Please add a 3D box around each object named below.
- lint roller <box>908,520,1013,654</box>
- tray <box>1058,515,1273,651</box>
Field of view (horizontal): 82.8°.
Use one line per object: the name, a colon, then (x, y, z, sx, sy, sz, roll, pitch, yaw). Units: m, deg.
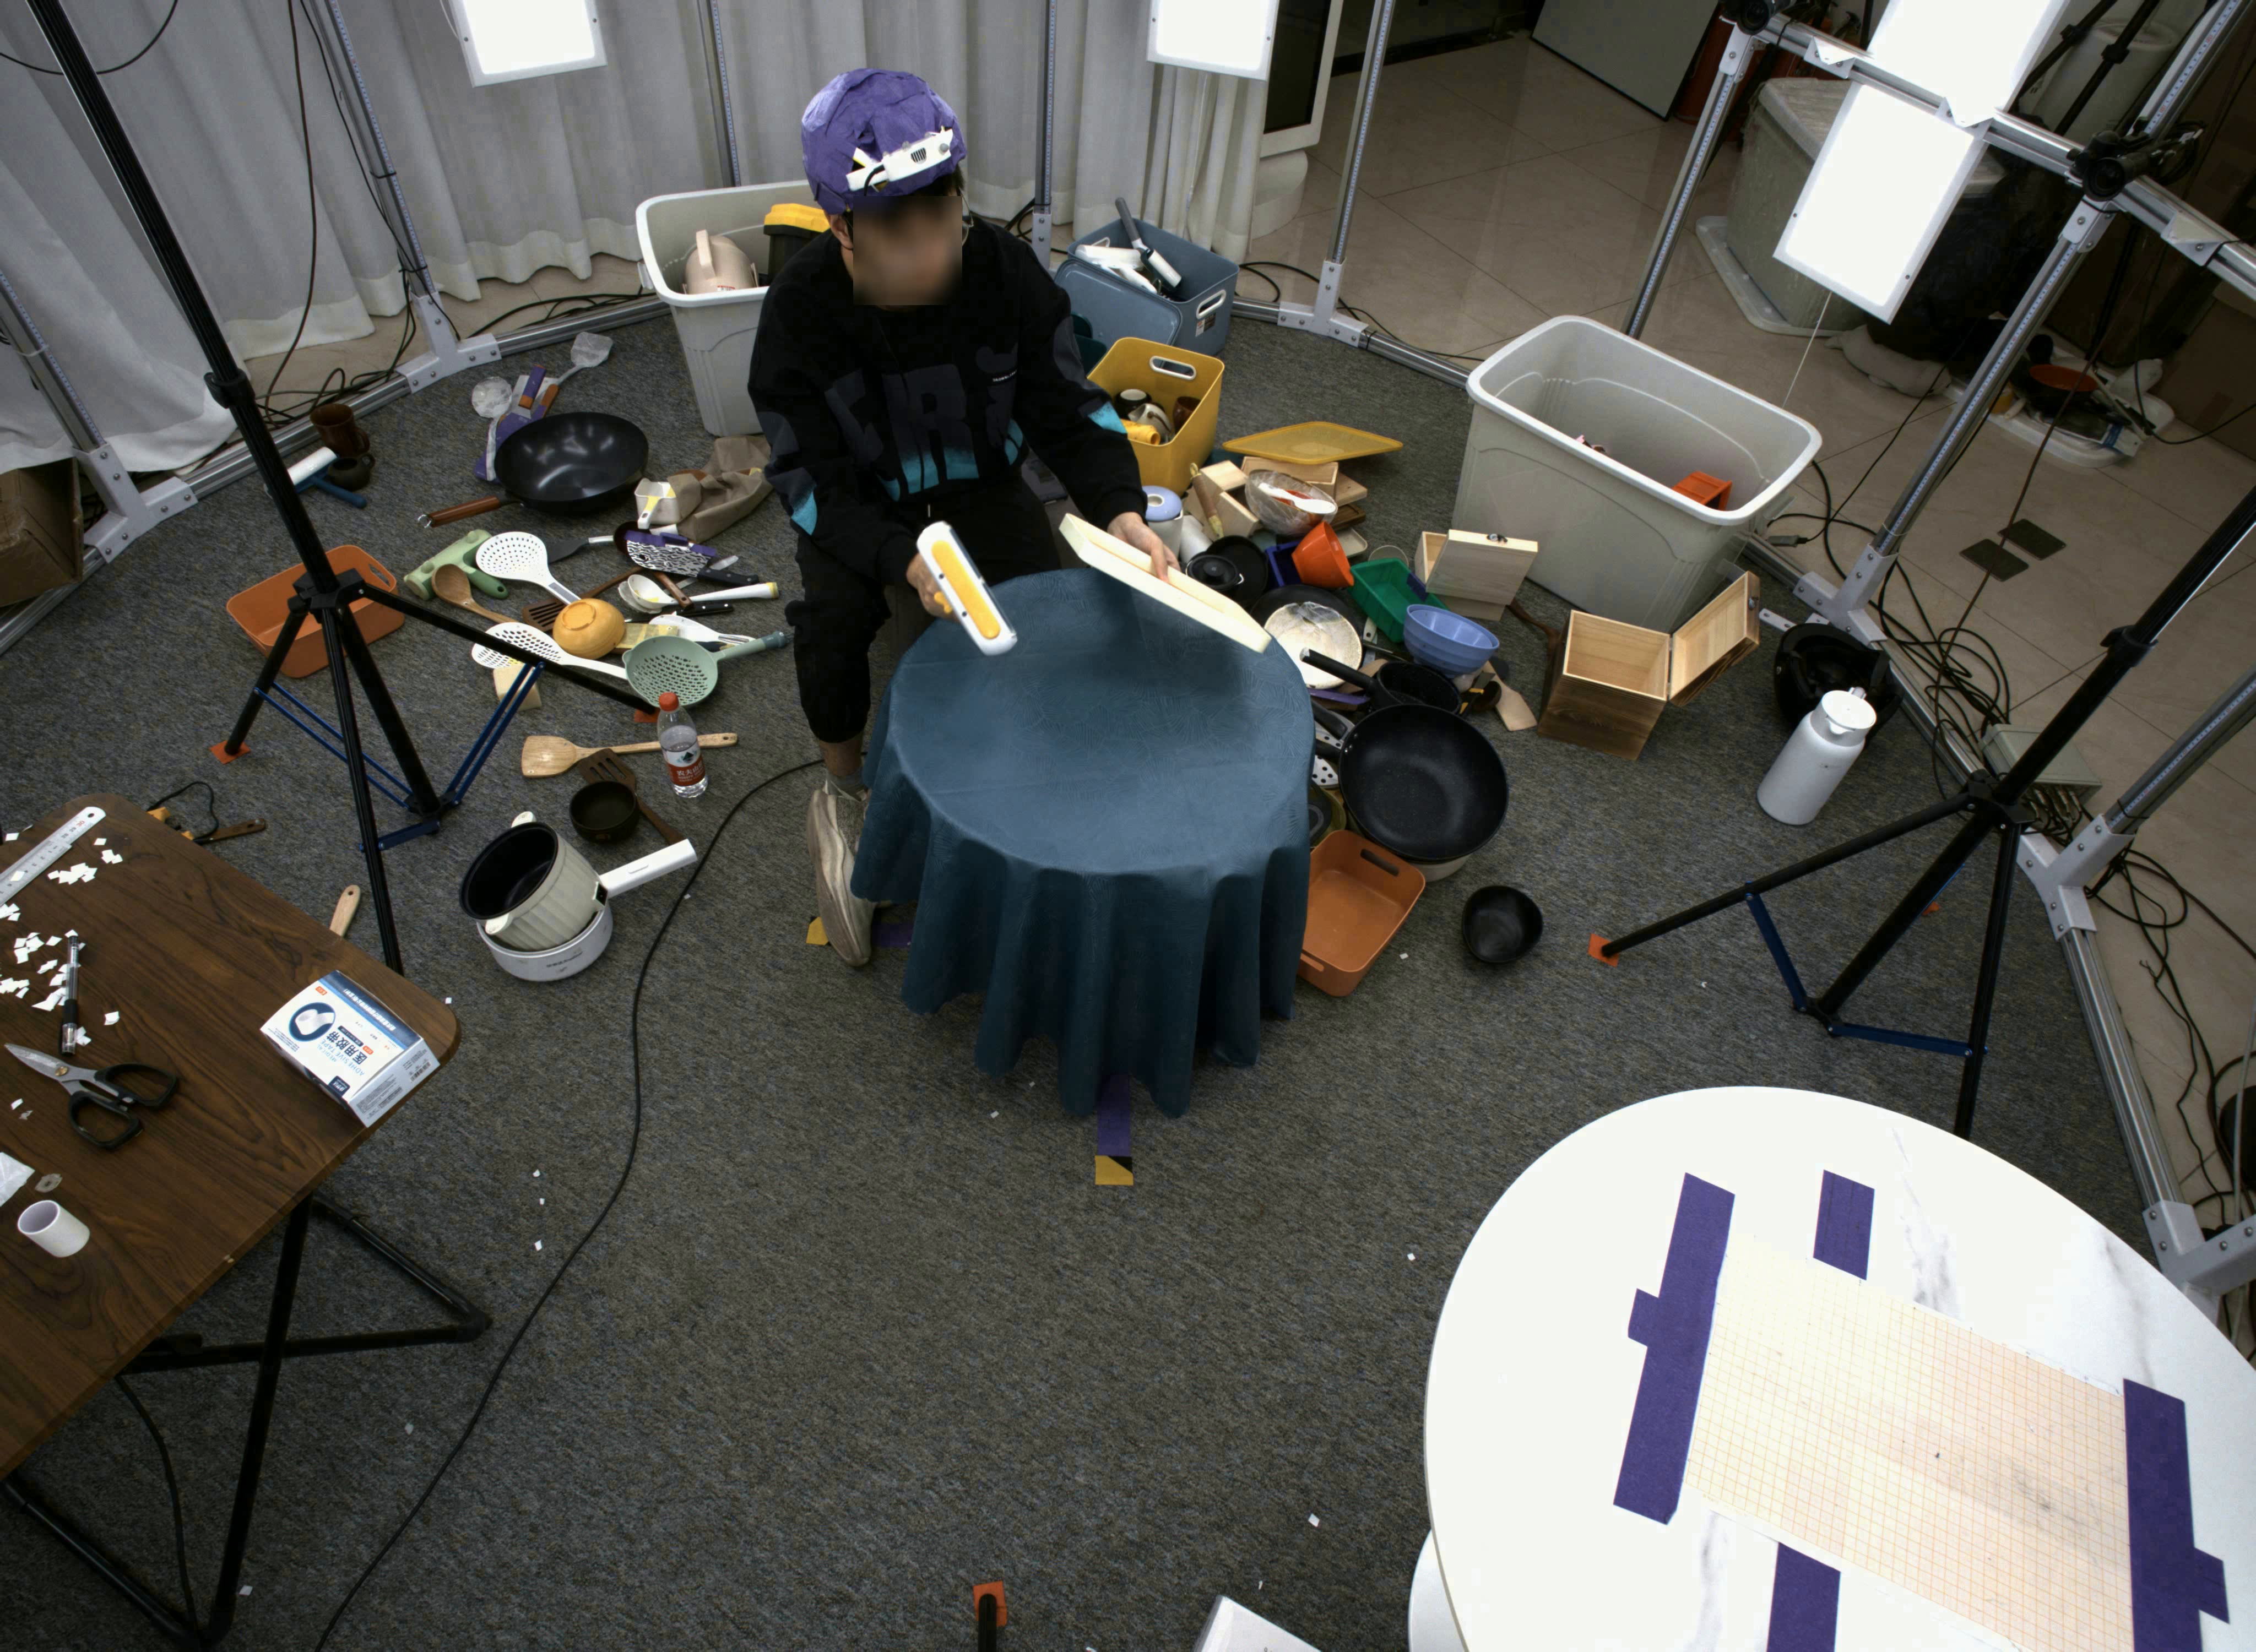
lint roller: (-0.228, -0.319, 1.771, 0.074, 0.193, 0.192, -37, 94, 2)
tray: (0.051, -0.338, 1.792, 0.297, 0.027, 0.195, 23, 17, -21)
